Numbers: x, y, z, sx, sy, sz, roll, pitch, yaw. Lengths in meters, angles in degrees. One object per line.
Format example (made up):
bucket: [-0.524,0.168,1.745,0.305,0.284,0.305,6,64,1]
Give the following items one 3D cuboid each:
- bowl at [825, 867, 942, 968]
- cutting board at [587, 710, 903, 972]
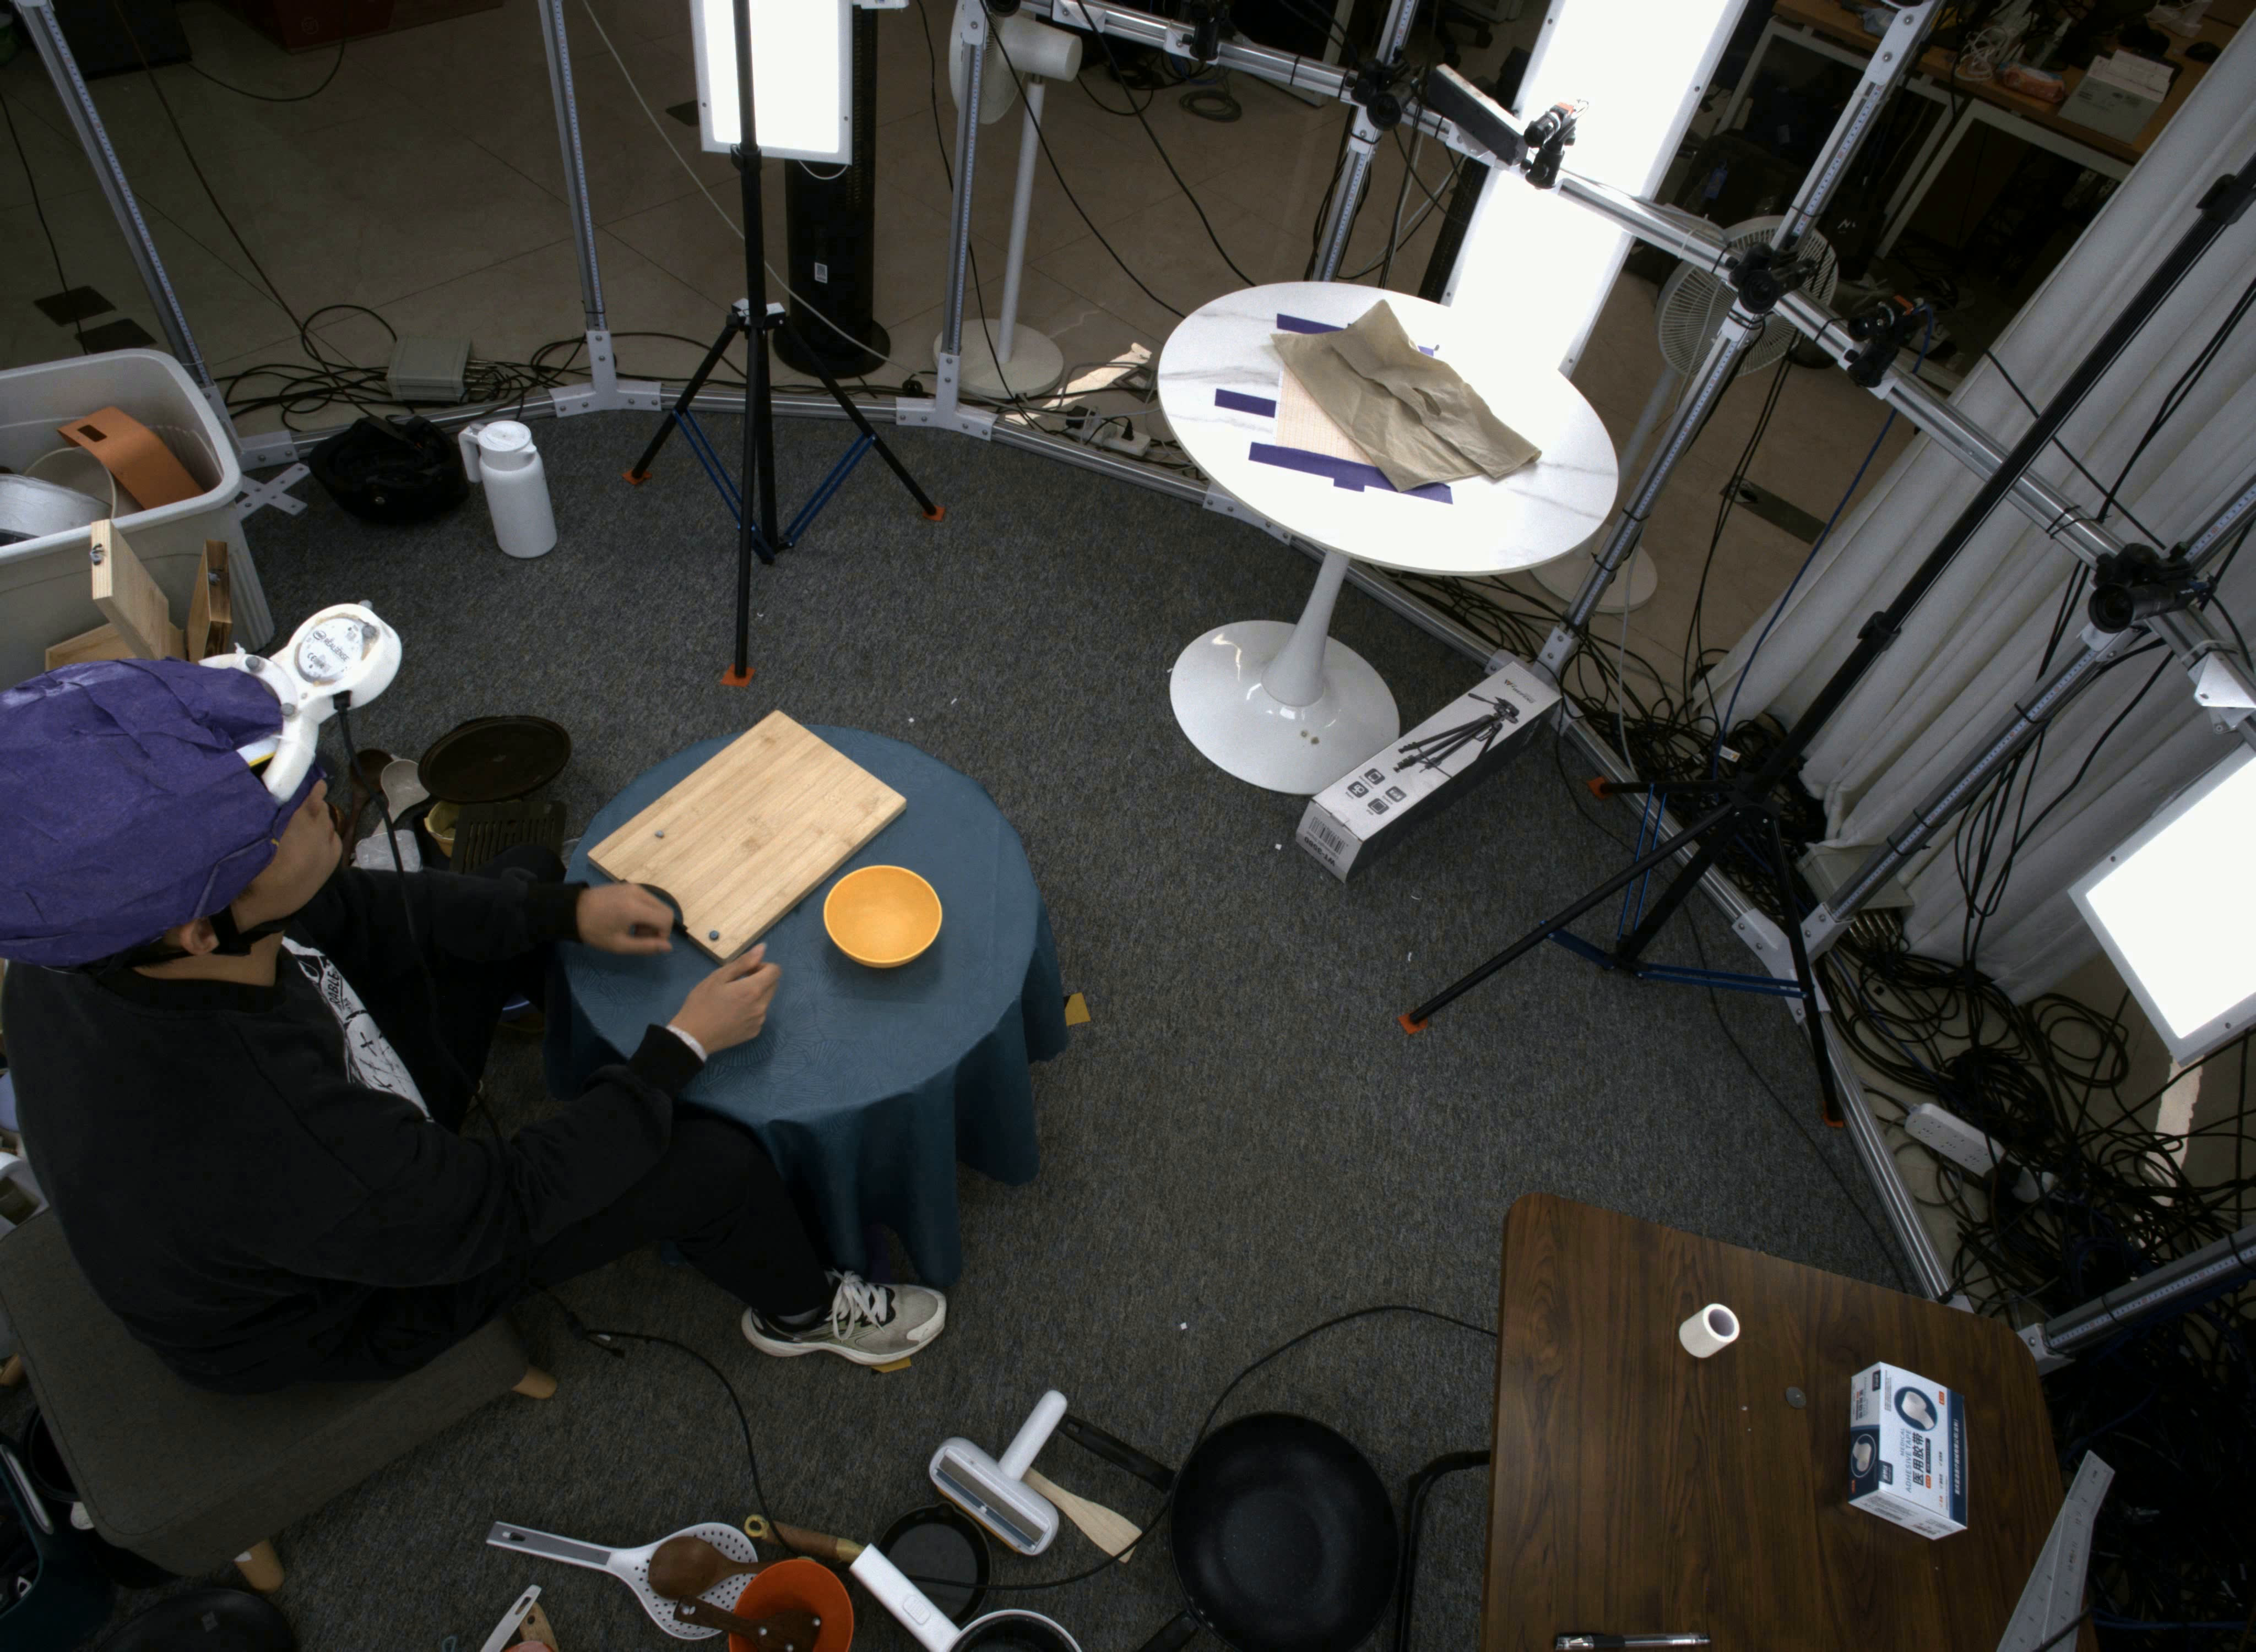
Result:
bowl: [-0.305,0.124,1.632,0.144,0.061,0.143,6,52,-6]
cutting board: [-0.496,0.007,1.695,0.246,0.024,0.348,33,53,11]
